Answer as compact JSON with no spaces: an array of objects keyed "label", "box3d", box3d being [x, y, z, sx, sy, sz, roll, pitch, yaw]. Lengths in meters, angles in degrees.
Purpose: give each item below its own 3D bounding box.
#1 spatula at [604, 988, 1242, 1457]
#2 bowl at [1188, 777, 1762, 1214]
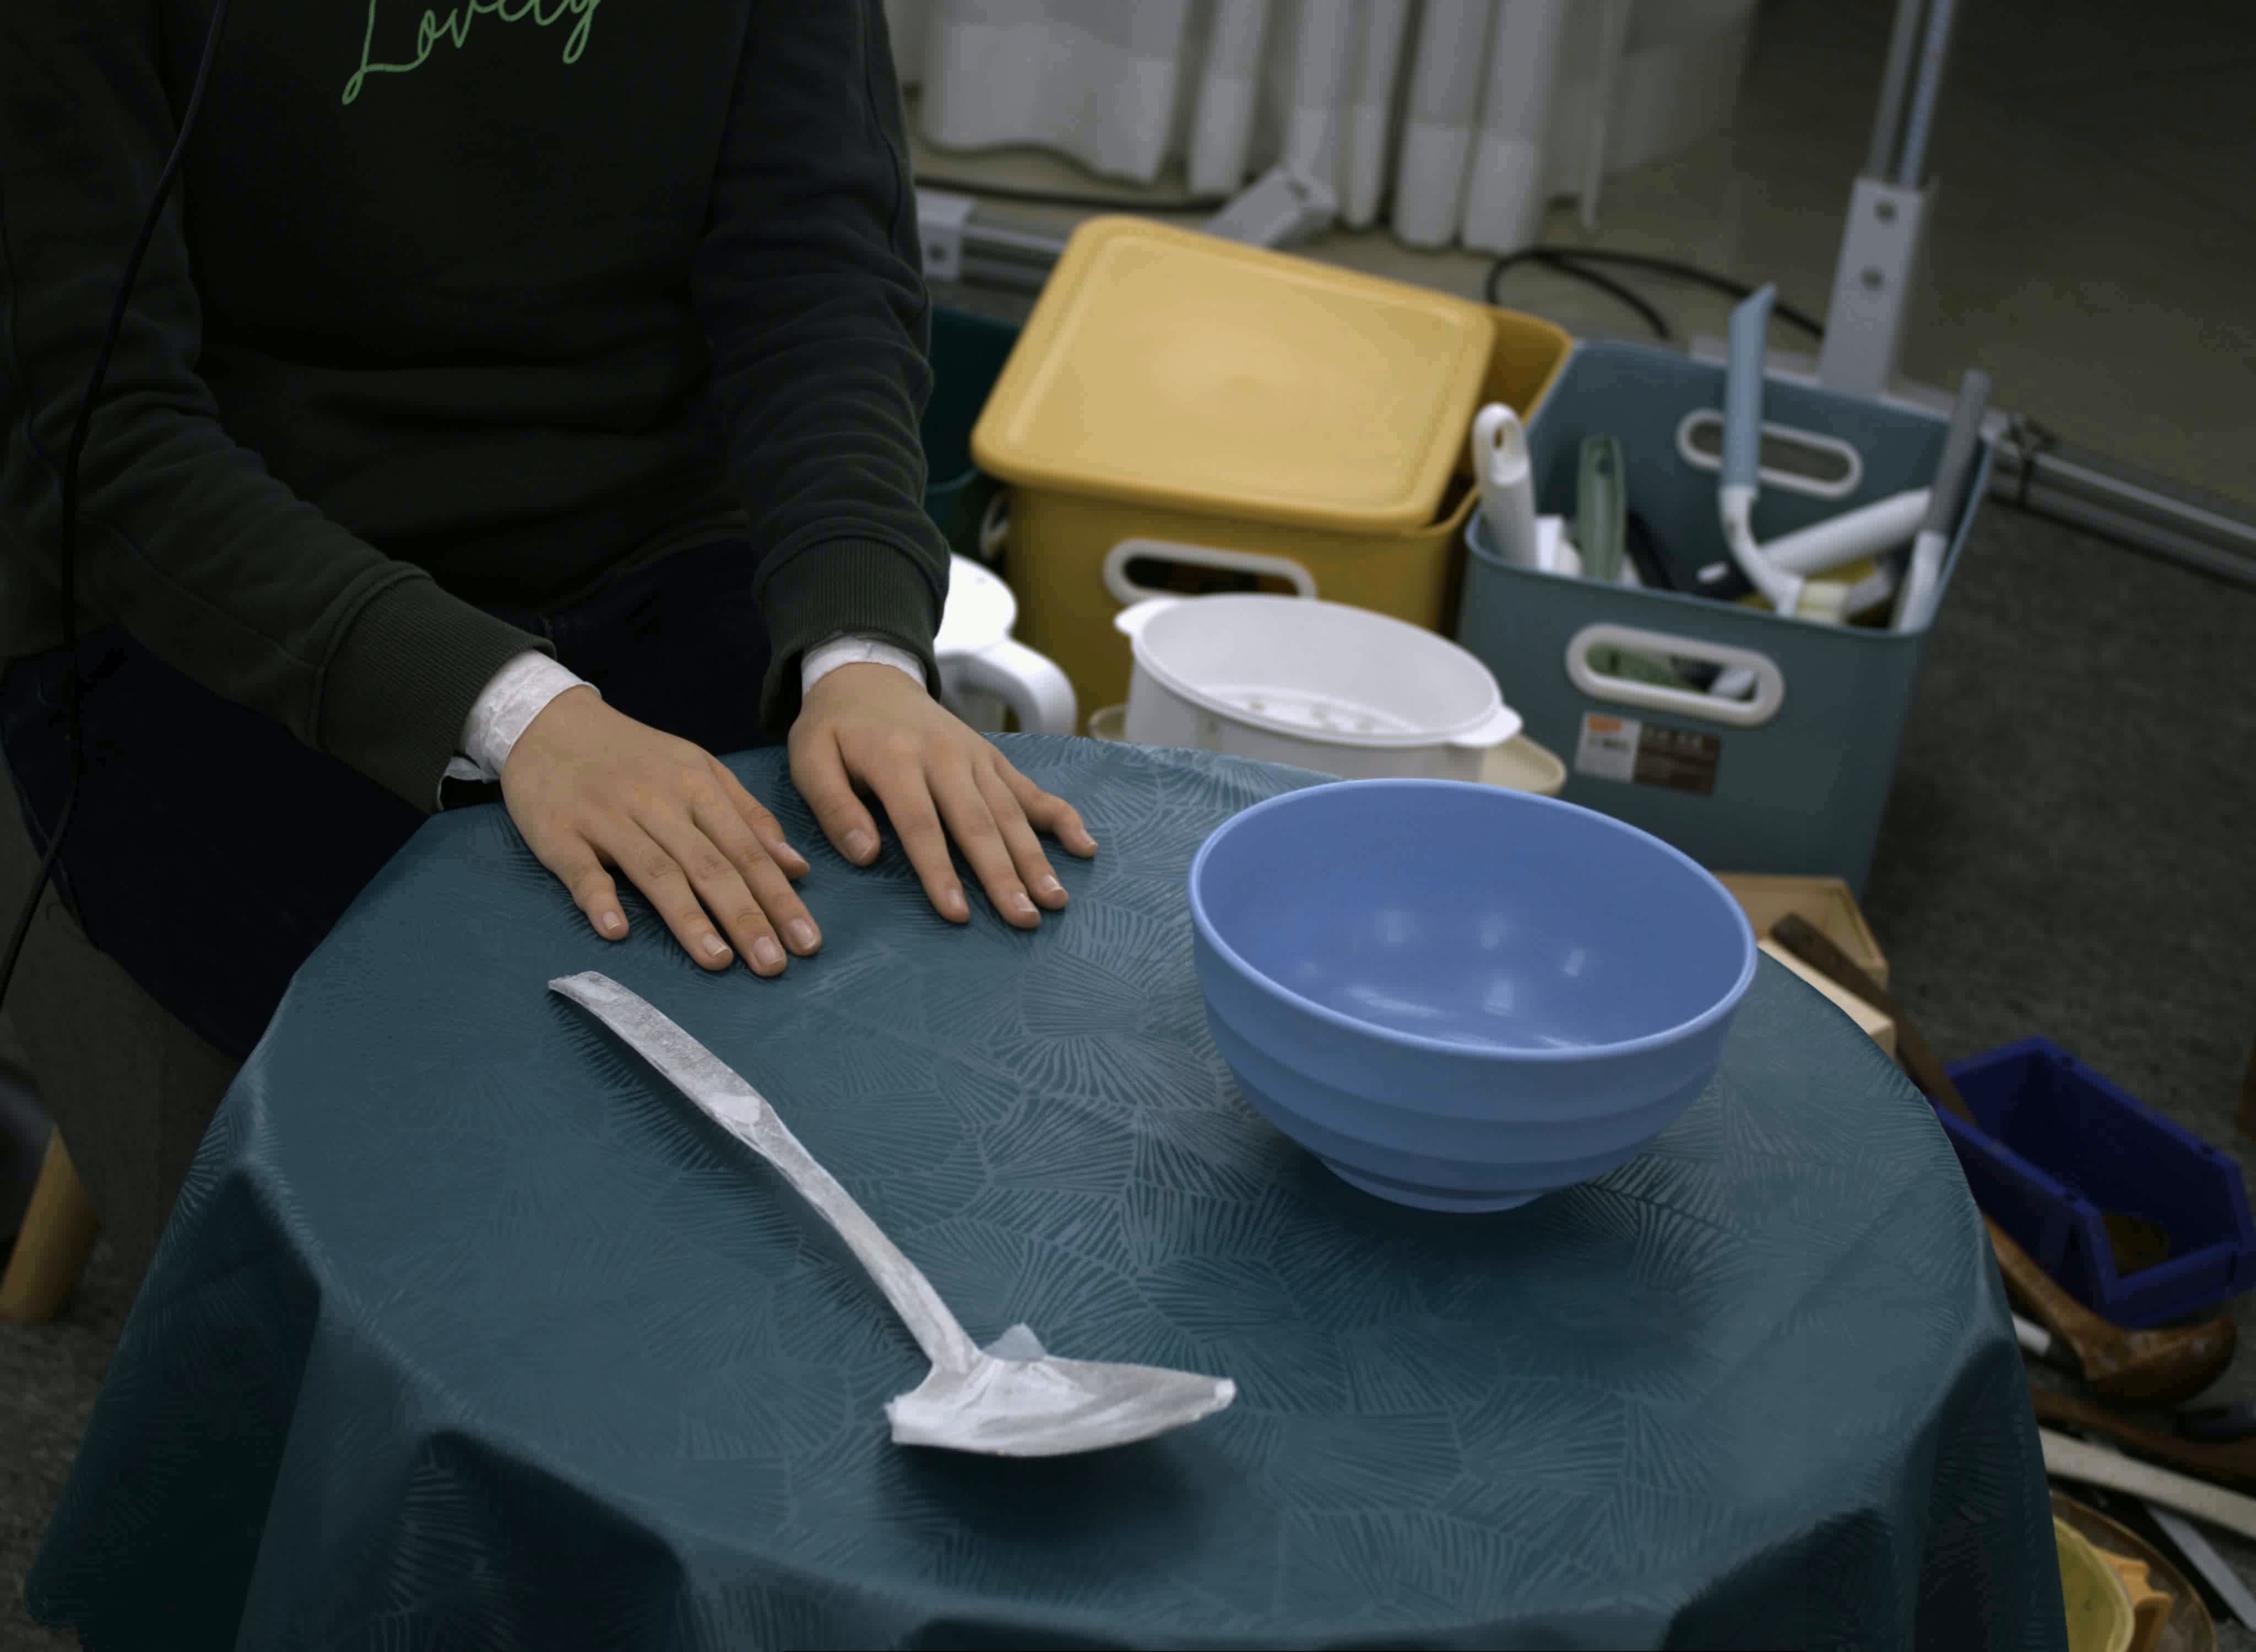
[{"label":"spatula","box3d":[-0.091,0.121,1.741,0.098,0.044,0.368,-12,32,-29]},{"label":"bowl","box3d":[0.113,0.069,1.828,0.196,0.095,0.198,5,28,-3]}]
